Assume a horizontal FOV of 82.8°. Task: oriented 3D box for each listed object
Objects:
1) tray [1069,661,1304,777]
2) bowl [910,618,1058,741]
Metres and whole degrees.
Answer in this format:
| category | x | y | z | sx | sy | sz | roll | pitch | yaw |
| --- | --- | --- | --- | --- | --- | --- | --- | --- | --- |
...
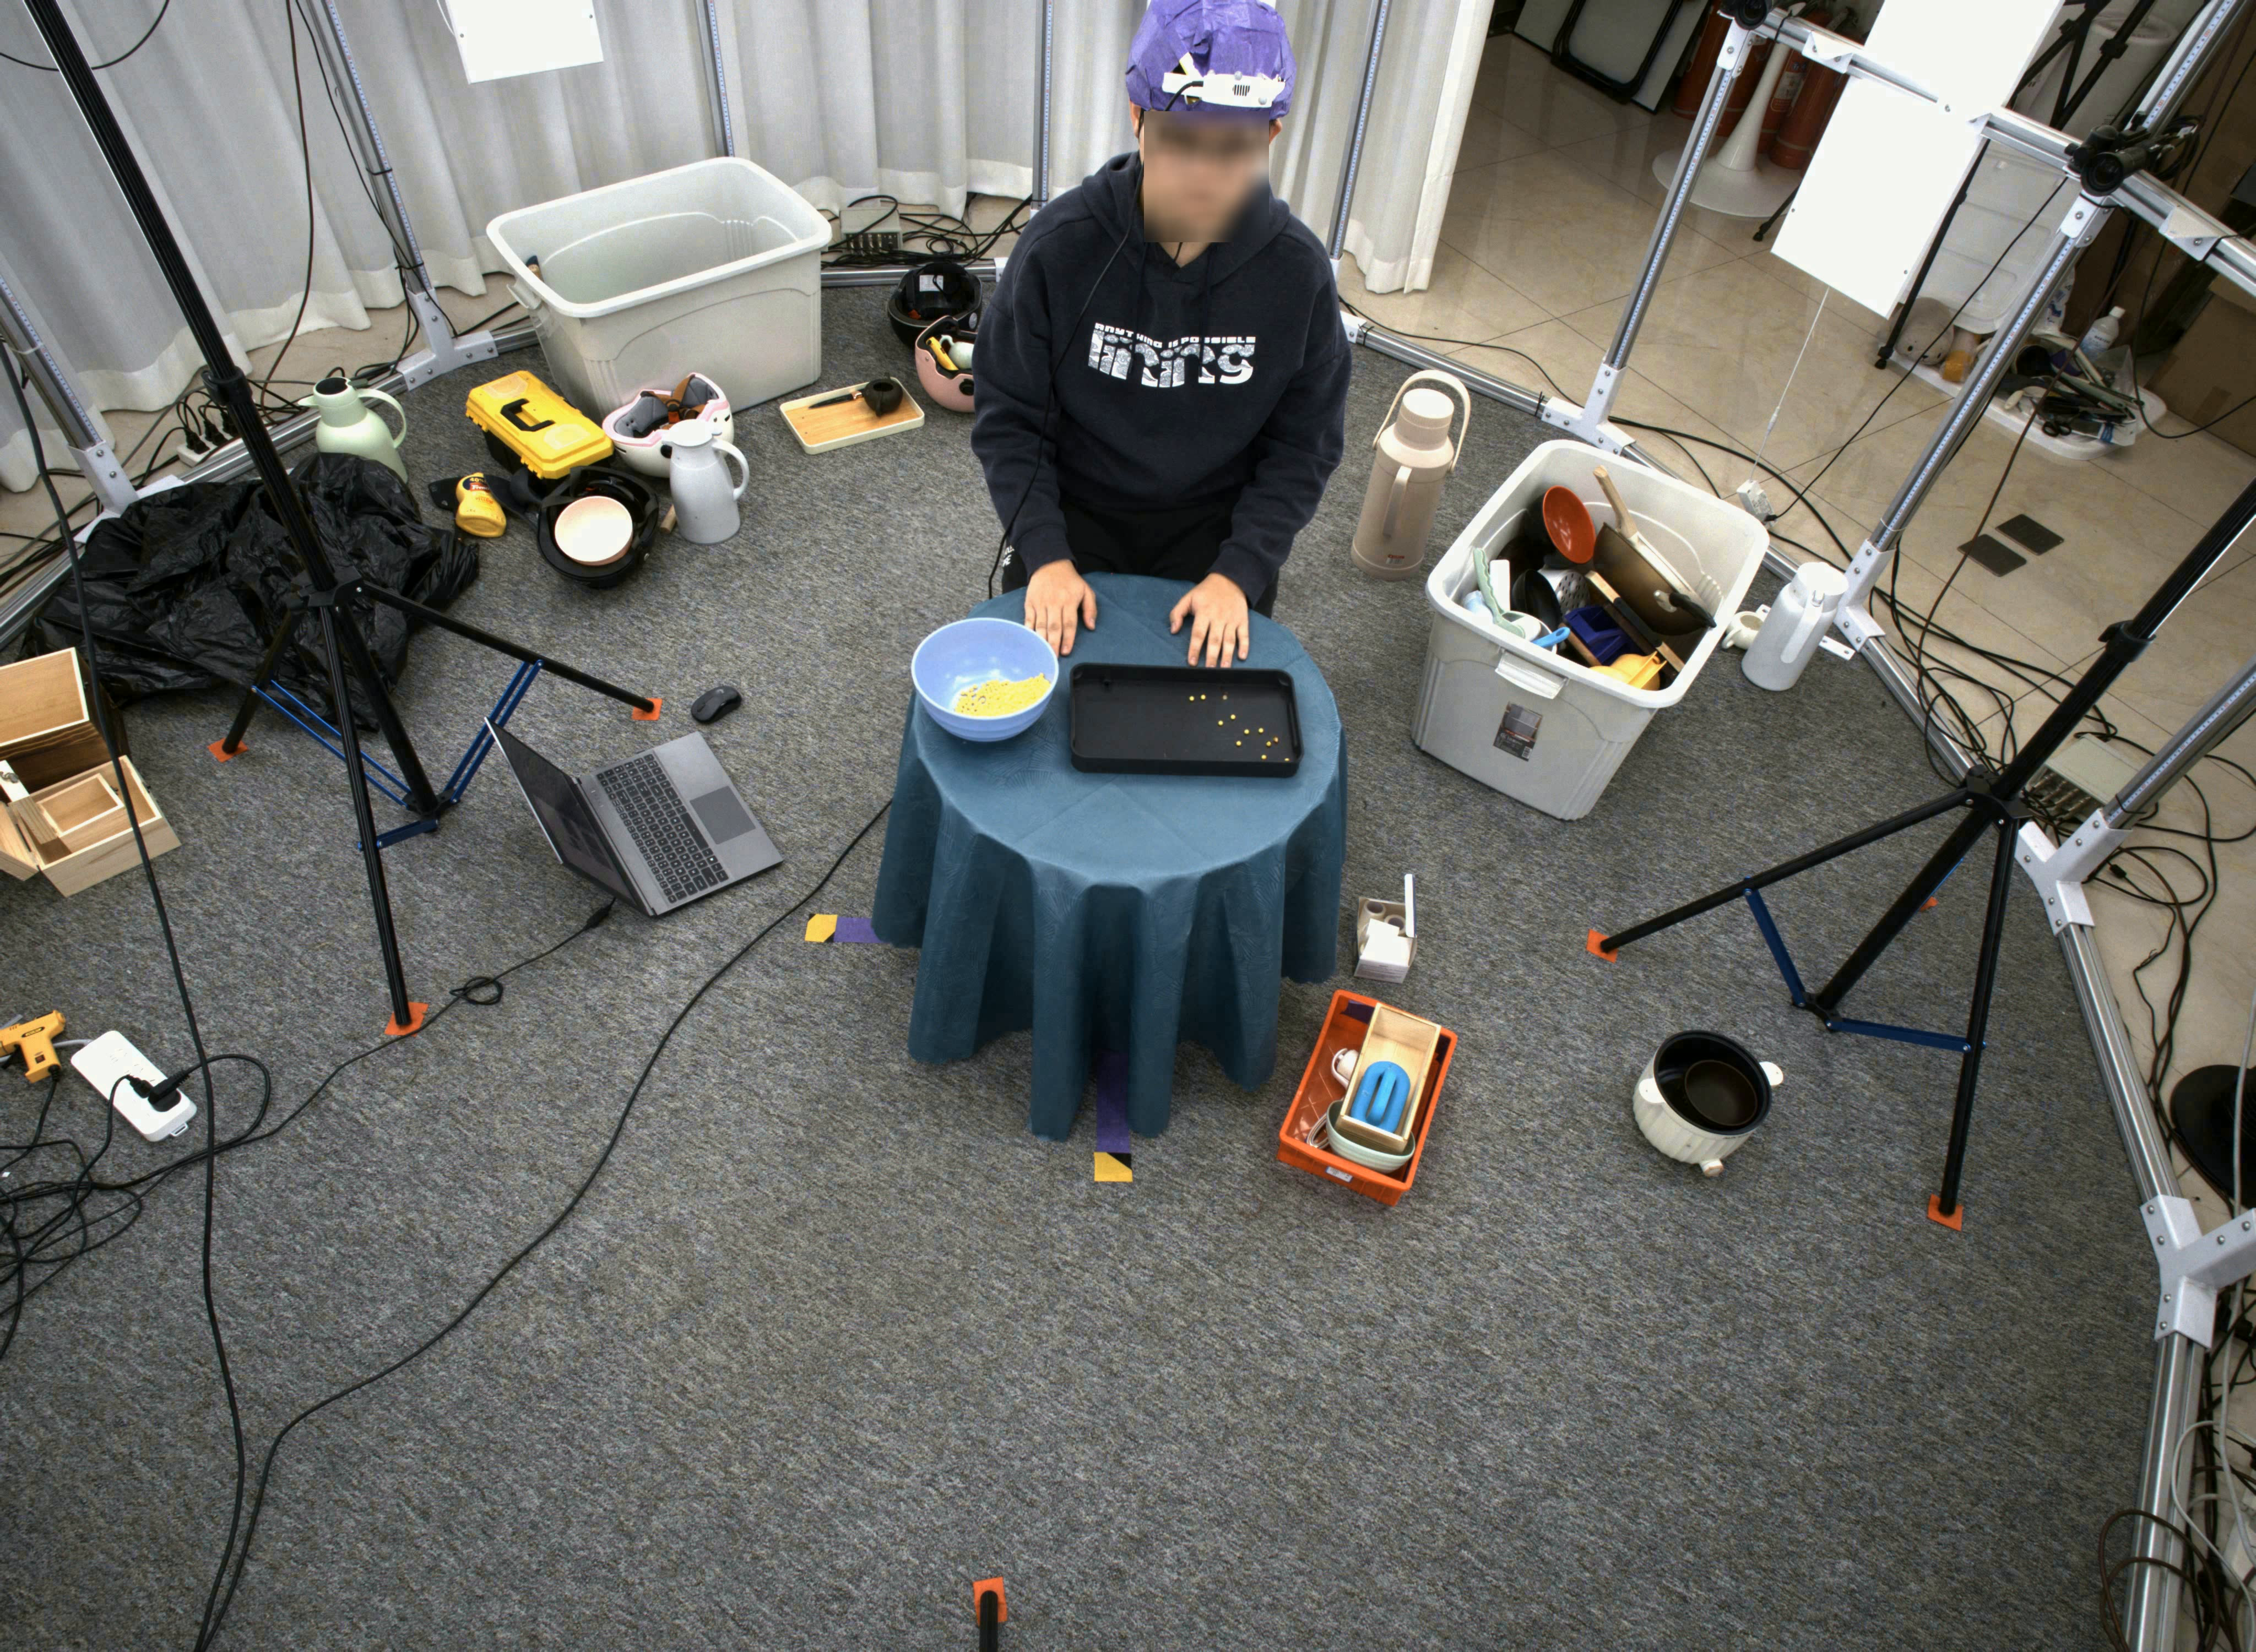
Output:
| category | x | y | z | sx | sy | sz | roll | pitch | yaw |
| --- | --- | --- | --- | --- | --- | --- | --- | --- | --- |
| tray | 0.076 | -0.149 | 1.776 | 0.317 | 0.036 | 0.189 | 2 | 49 | -3 |
| bowl | -0.193 | -0.184 | 1.749 | 0.196 | 0.093 | 0.201 | 2 | 49 | -2 |
